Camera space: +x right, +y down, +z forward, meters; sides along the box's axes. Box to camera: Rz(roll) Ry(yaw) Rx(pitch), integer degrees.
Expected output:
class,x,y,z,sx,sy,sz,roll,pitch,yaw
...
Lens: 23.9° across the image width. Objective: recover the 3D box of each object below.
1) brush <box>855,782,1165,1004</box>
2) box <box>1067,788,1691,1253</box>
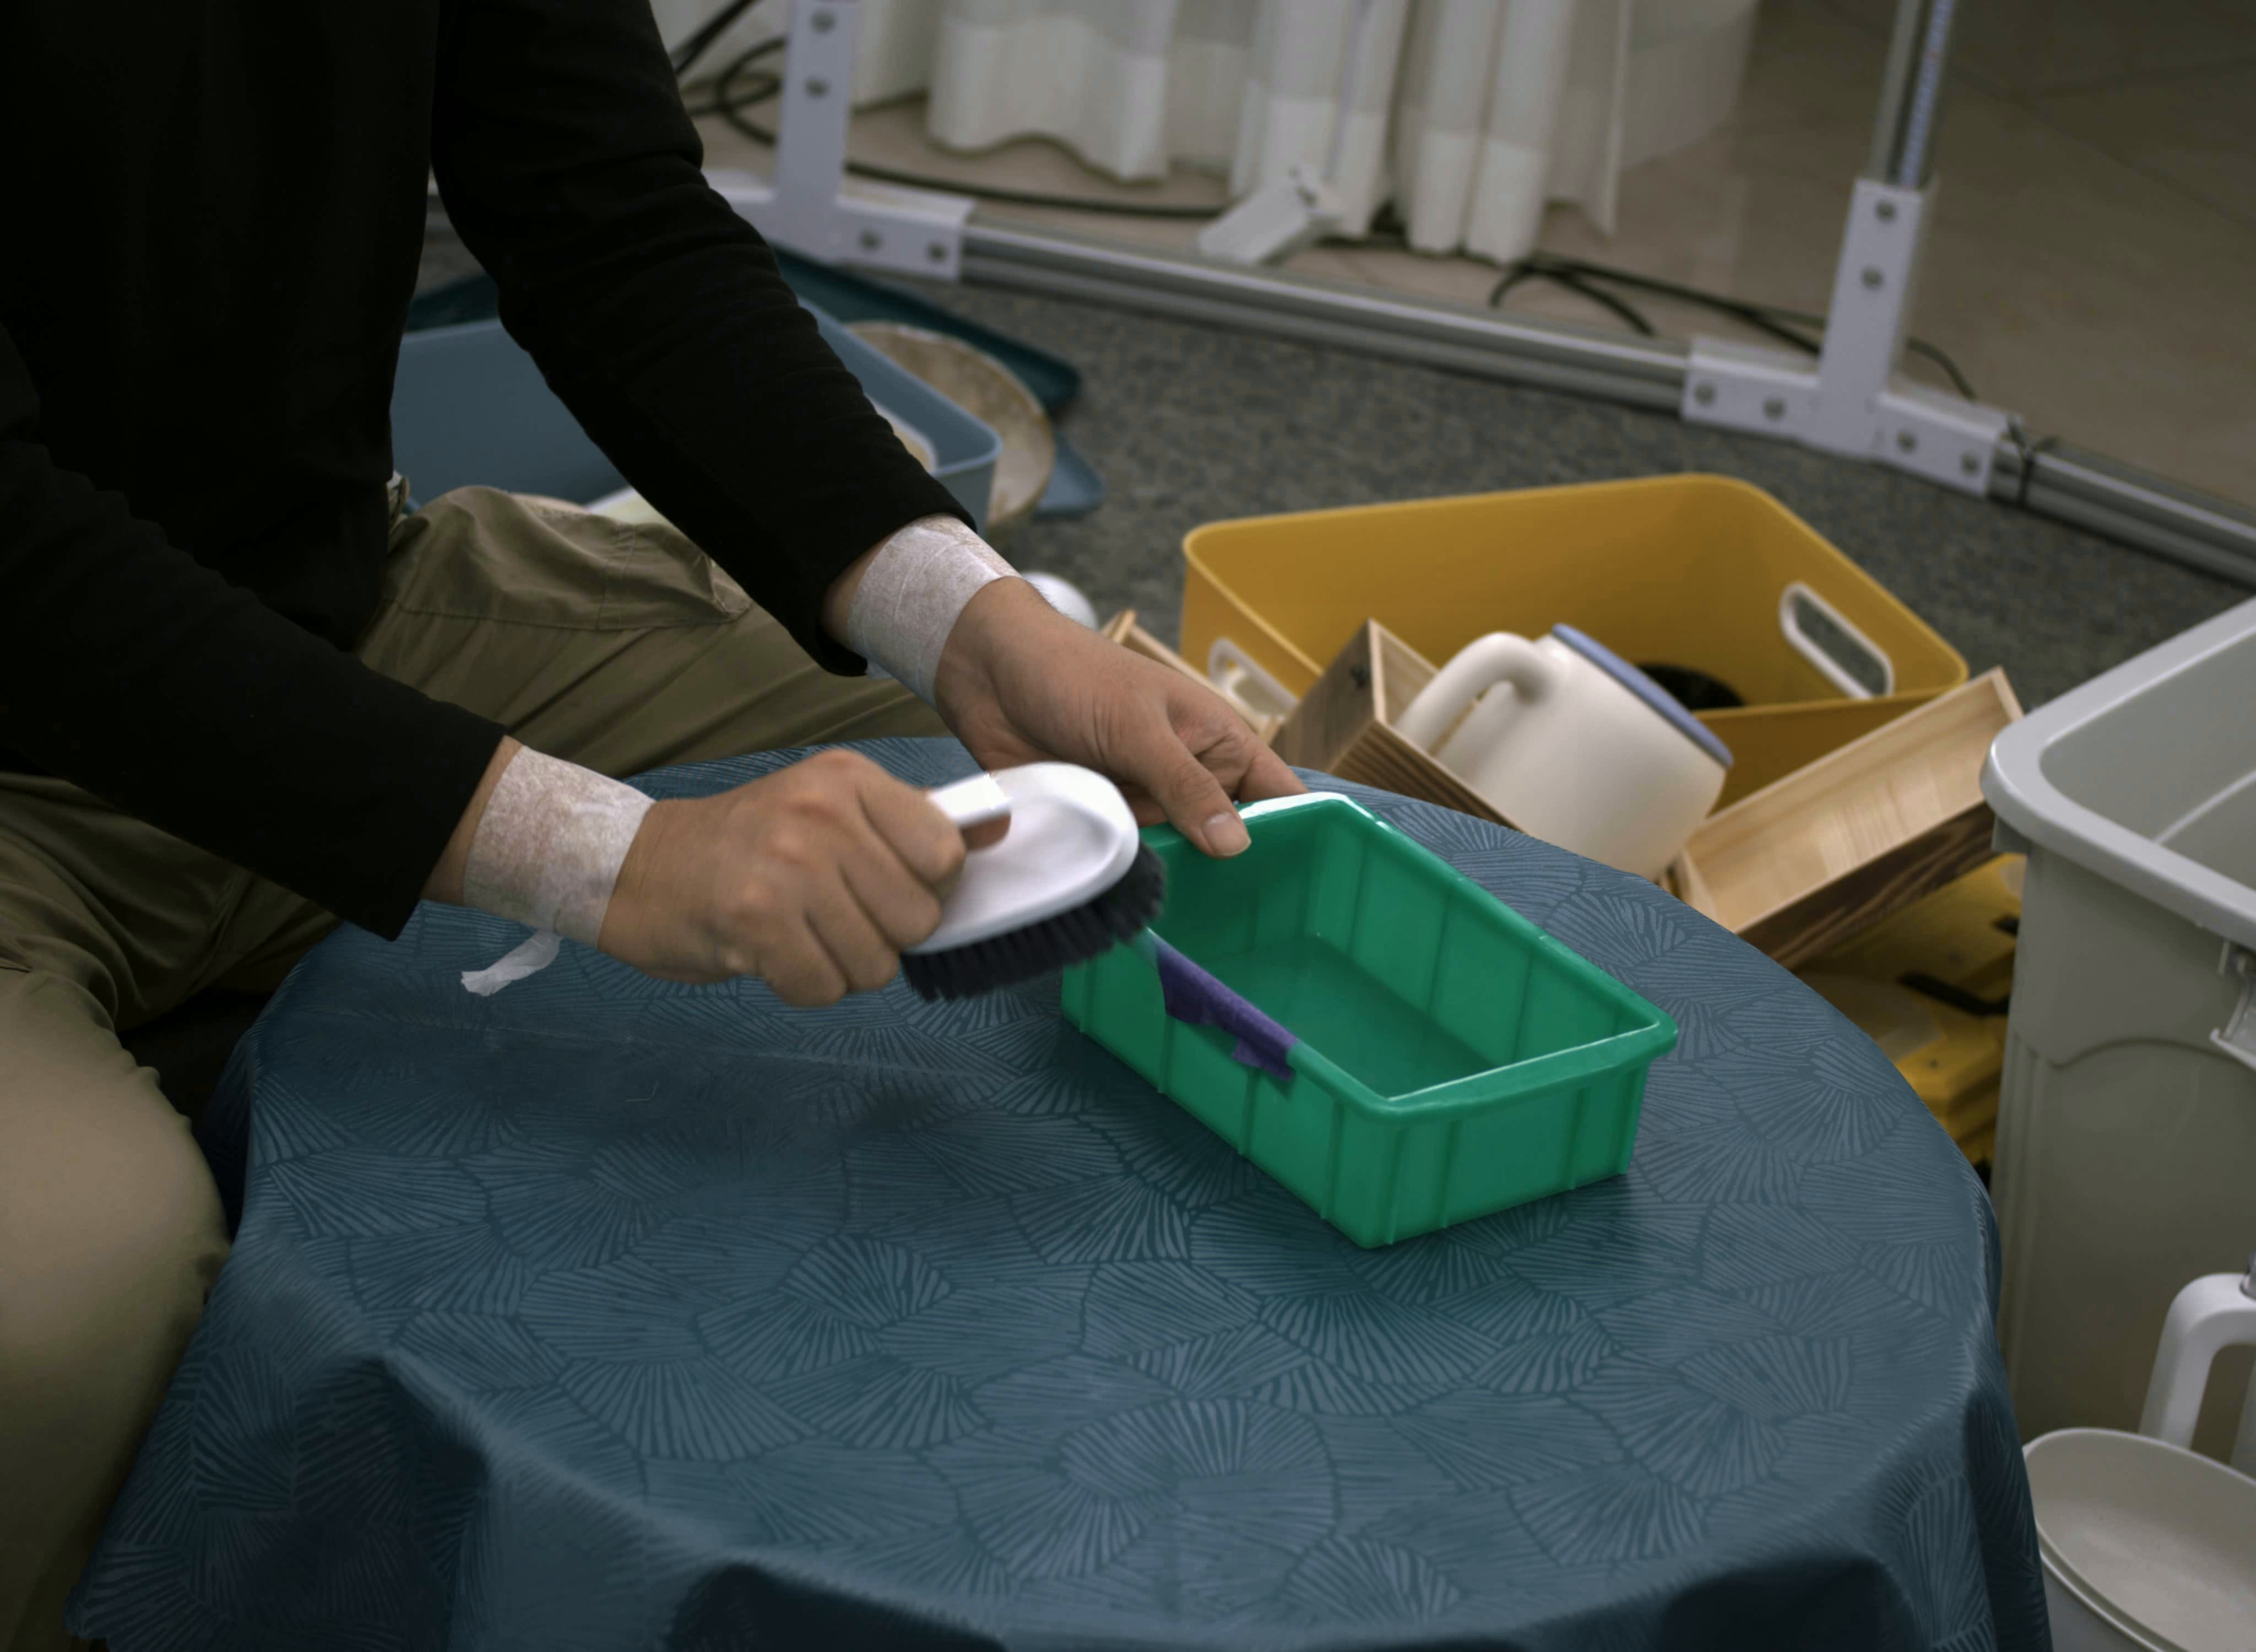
class,x,y,z,sx,sy,sz,roll,pitch,yaw
brush,-0.046,0.016,1.794,0.099,0.072,0.050,-15,49,17
box,0.081,0.068,1.861,0.138,0.065,0.212,-16,36,-34
